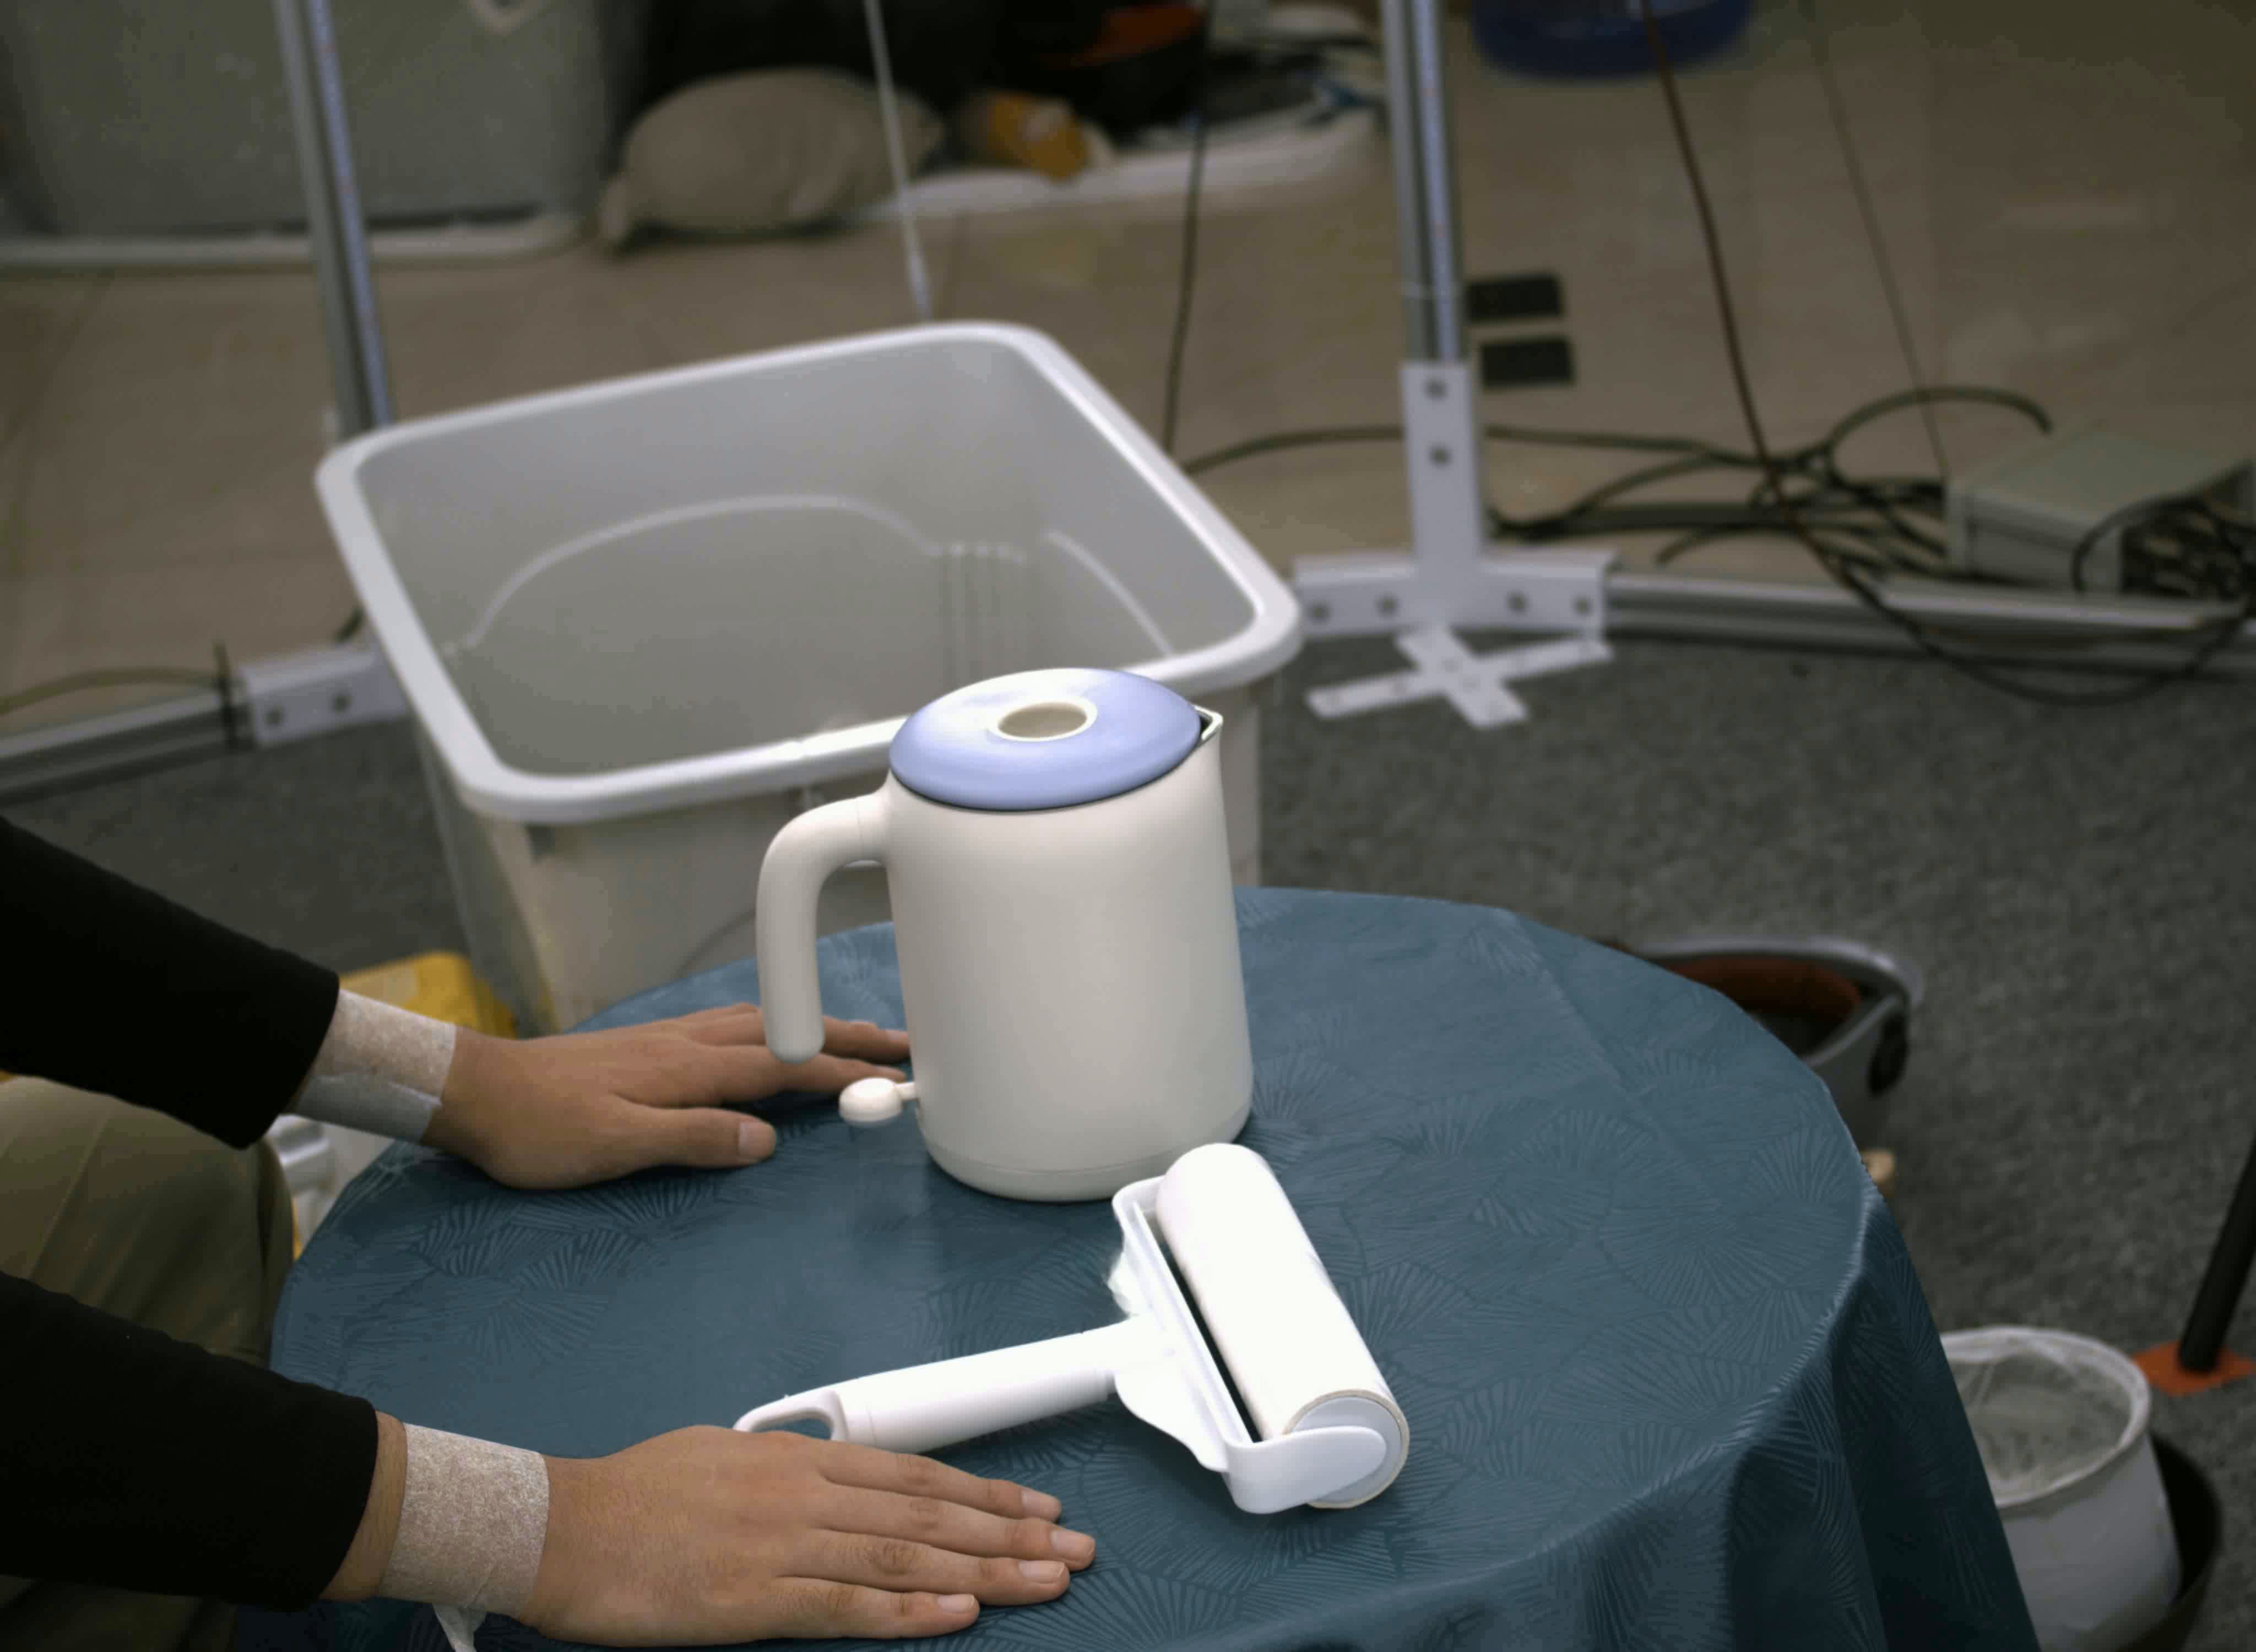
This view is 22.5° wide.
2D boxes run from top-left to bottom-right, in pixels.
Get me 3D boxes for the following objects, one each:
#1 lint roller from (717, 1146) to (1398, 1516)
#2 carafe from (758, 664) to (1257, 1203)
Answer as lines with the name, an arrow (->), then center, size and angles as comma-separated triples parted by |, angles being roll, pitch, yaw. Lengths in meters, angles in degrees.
lint roller -> -0.036, 0.193, 1.989 | 0.225, 0.049, 0.200 | -12, 26, -9
carafe -> -0.047, 0.045, 2.155 | 0.190, 0.185, 0.130 | -12, 25, -6
